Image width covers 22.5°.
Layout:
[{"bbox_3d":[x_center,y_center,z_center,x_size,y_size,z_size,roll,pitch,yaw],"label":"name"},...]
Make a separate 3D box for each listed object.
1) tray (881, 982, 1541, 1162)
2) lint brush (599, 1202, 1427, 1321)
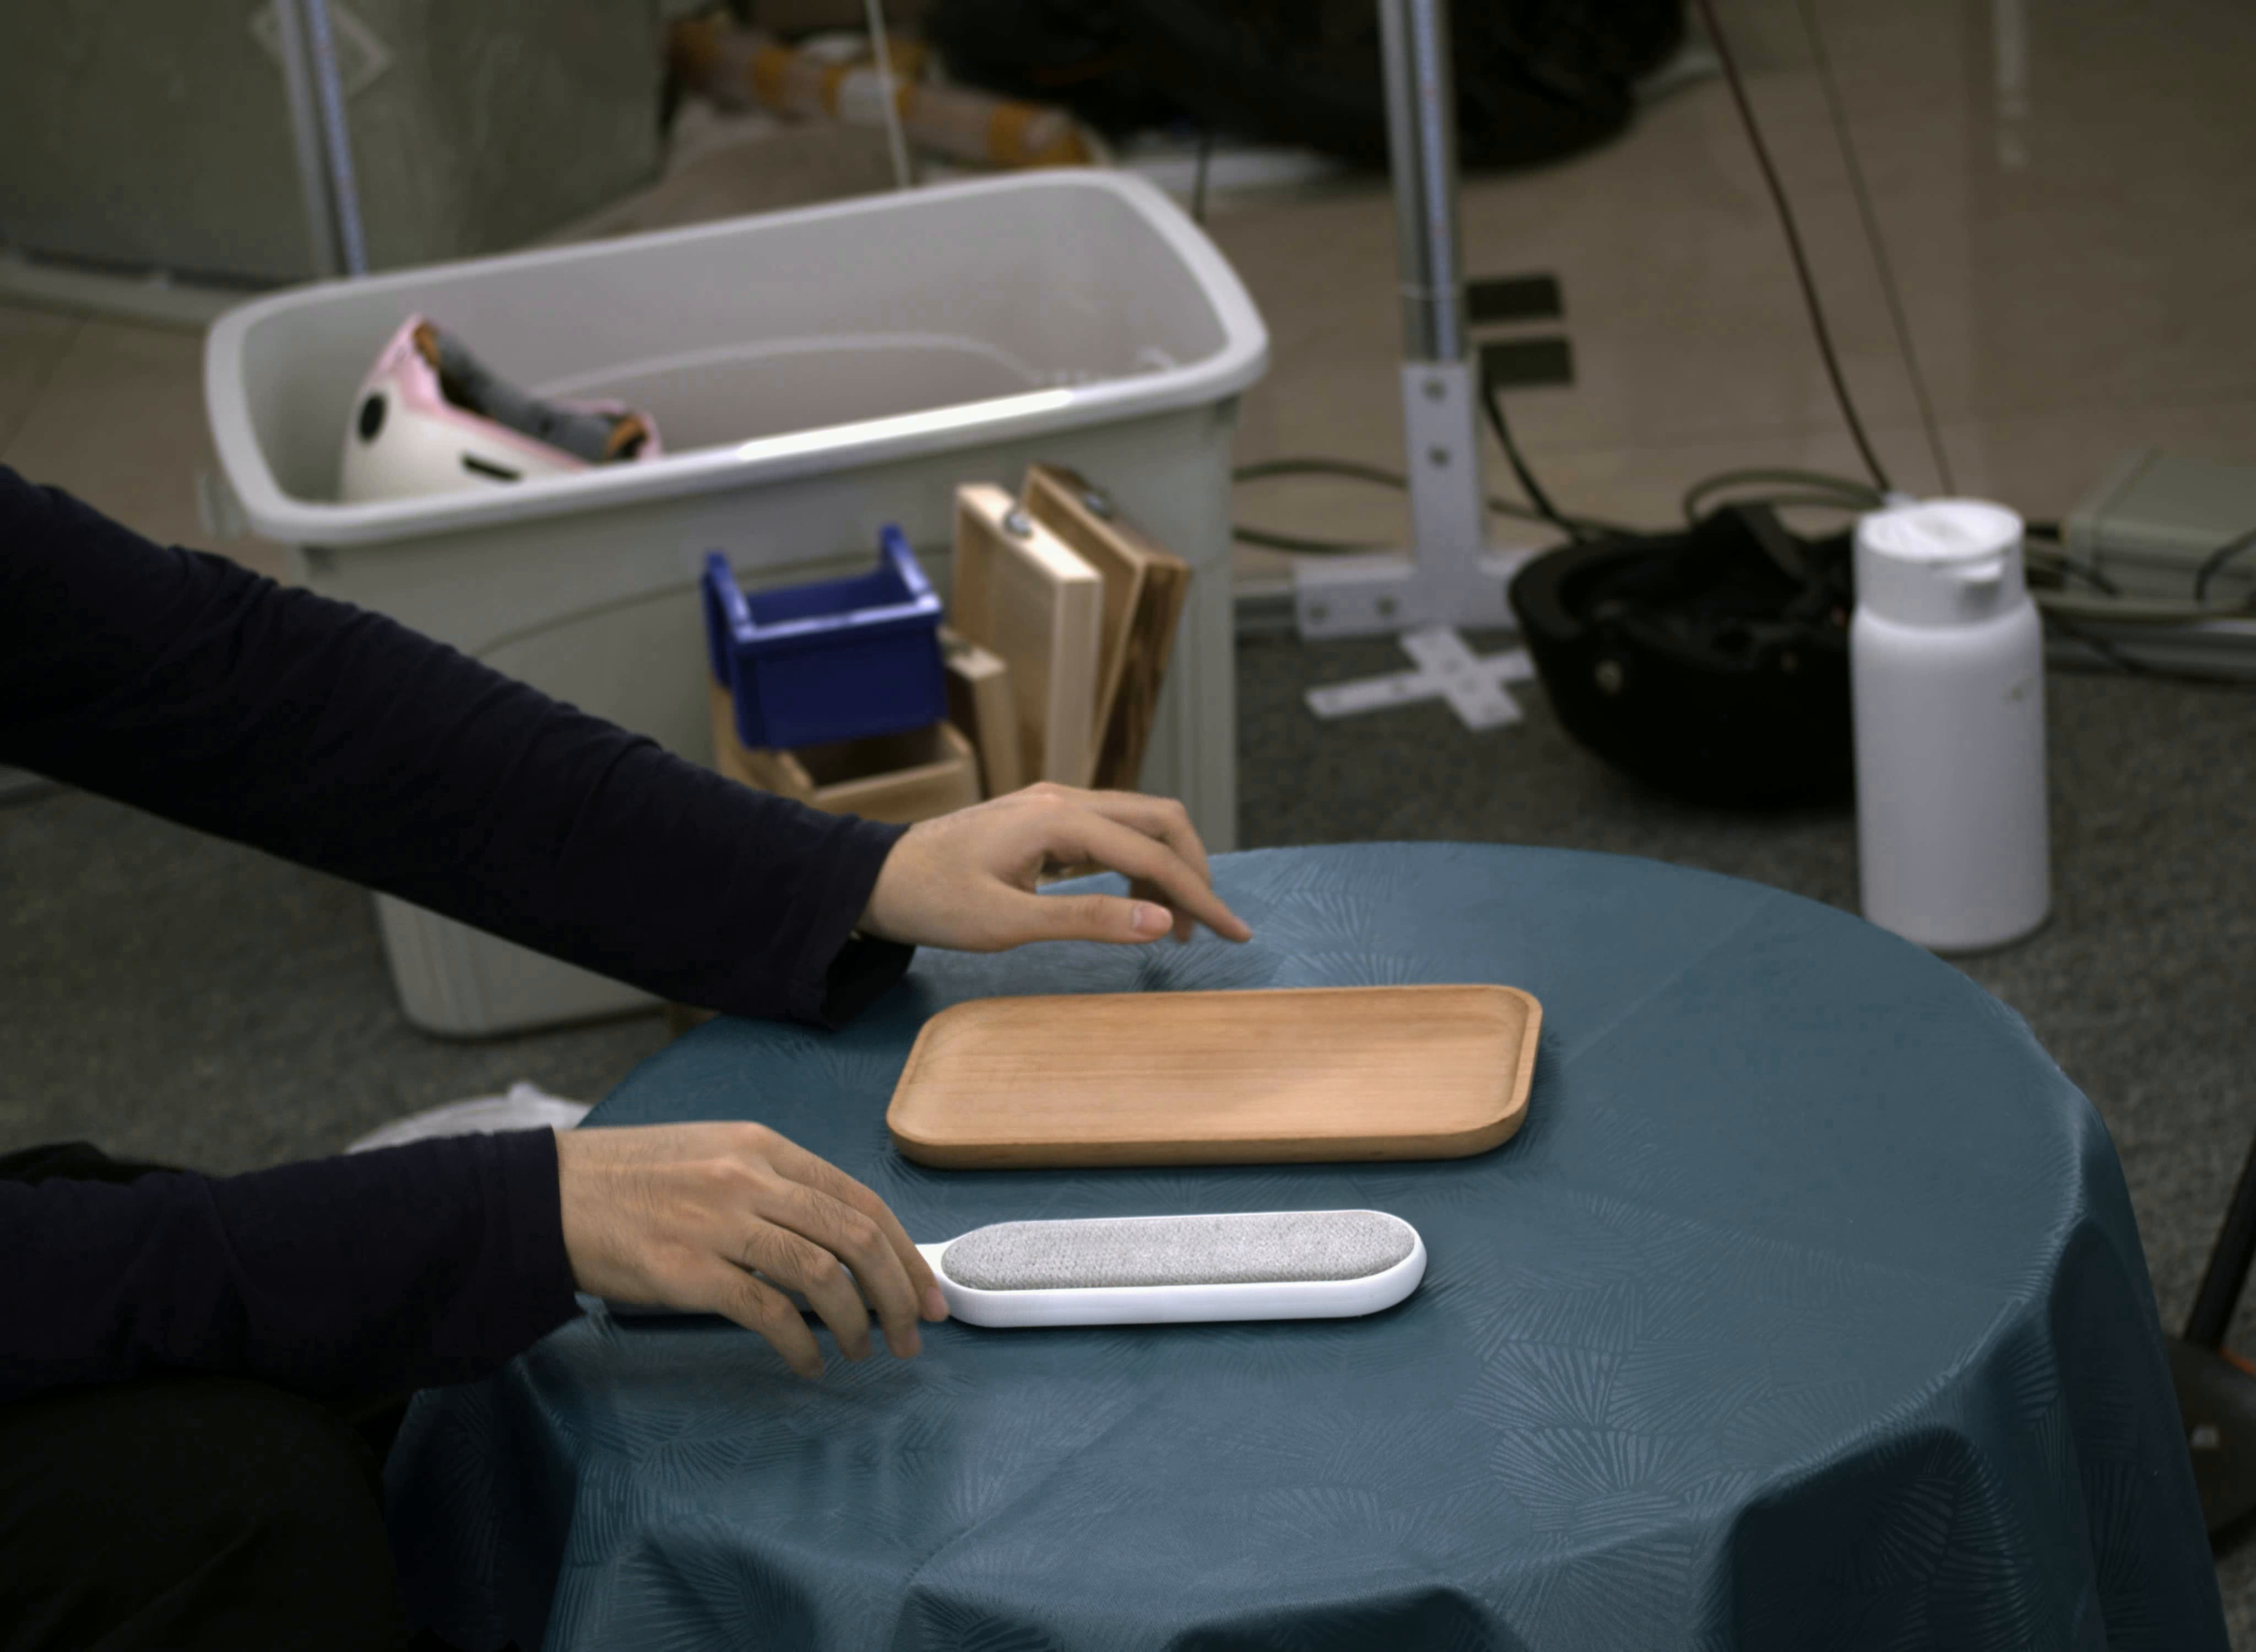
[{"bbox_3d":[0.033,0.097,2.214,0.250,0.023,0.129,-1,23,13],"label":"tray"},{"bbox_3d":[-0.044,0.161,2.083,0.308,0.021,0.059,-2,30,10],"label":"lint brush"}]
